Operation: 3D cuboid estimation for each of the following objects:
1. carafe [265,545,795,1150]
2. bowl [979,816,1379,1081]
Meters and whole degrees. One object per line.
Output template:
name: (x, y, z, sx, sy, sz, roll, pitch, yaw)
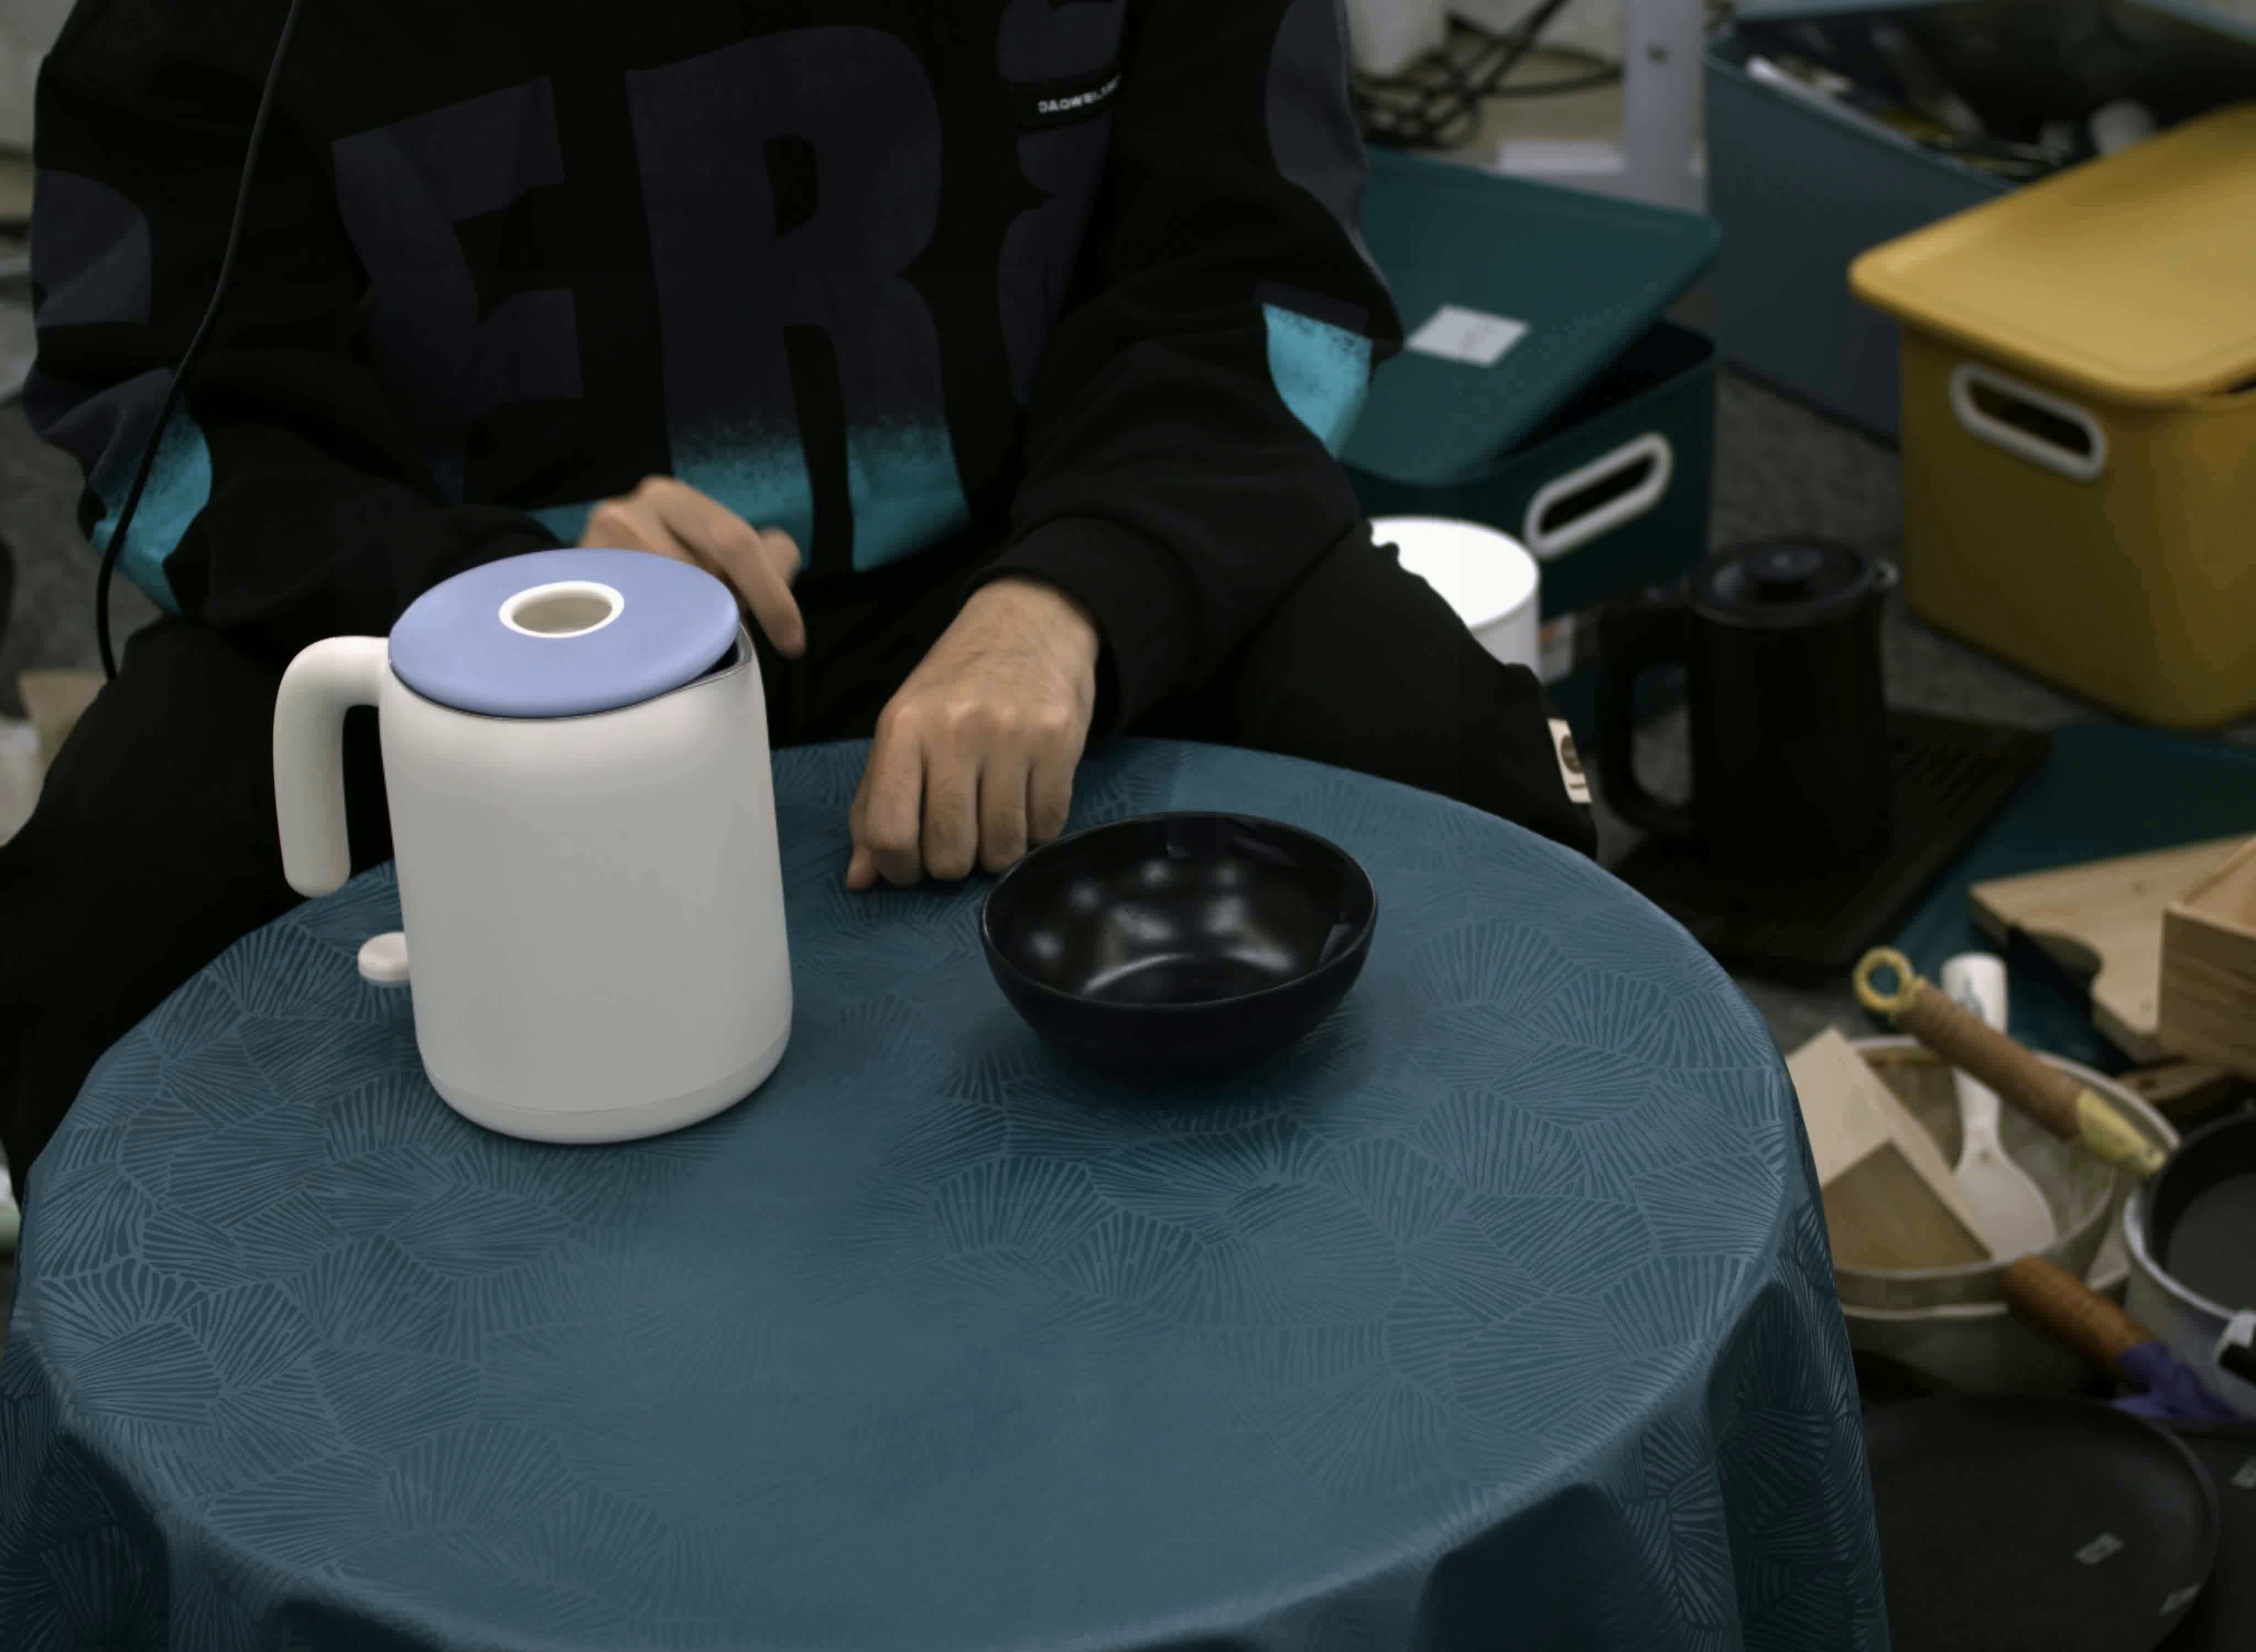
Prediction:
carafe: (-0.207, 0.005, 1.923, 0.189, 0.181, 0.134, 4, 26, 19)
bowl: (0.019, 0.050, 1.945, 0.139, 0.049, 0.142, -3, 26, 2)
